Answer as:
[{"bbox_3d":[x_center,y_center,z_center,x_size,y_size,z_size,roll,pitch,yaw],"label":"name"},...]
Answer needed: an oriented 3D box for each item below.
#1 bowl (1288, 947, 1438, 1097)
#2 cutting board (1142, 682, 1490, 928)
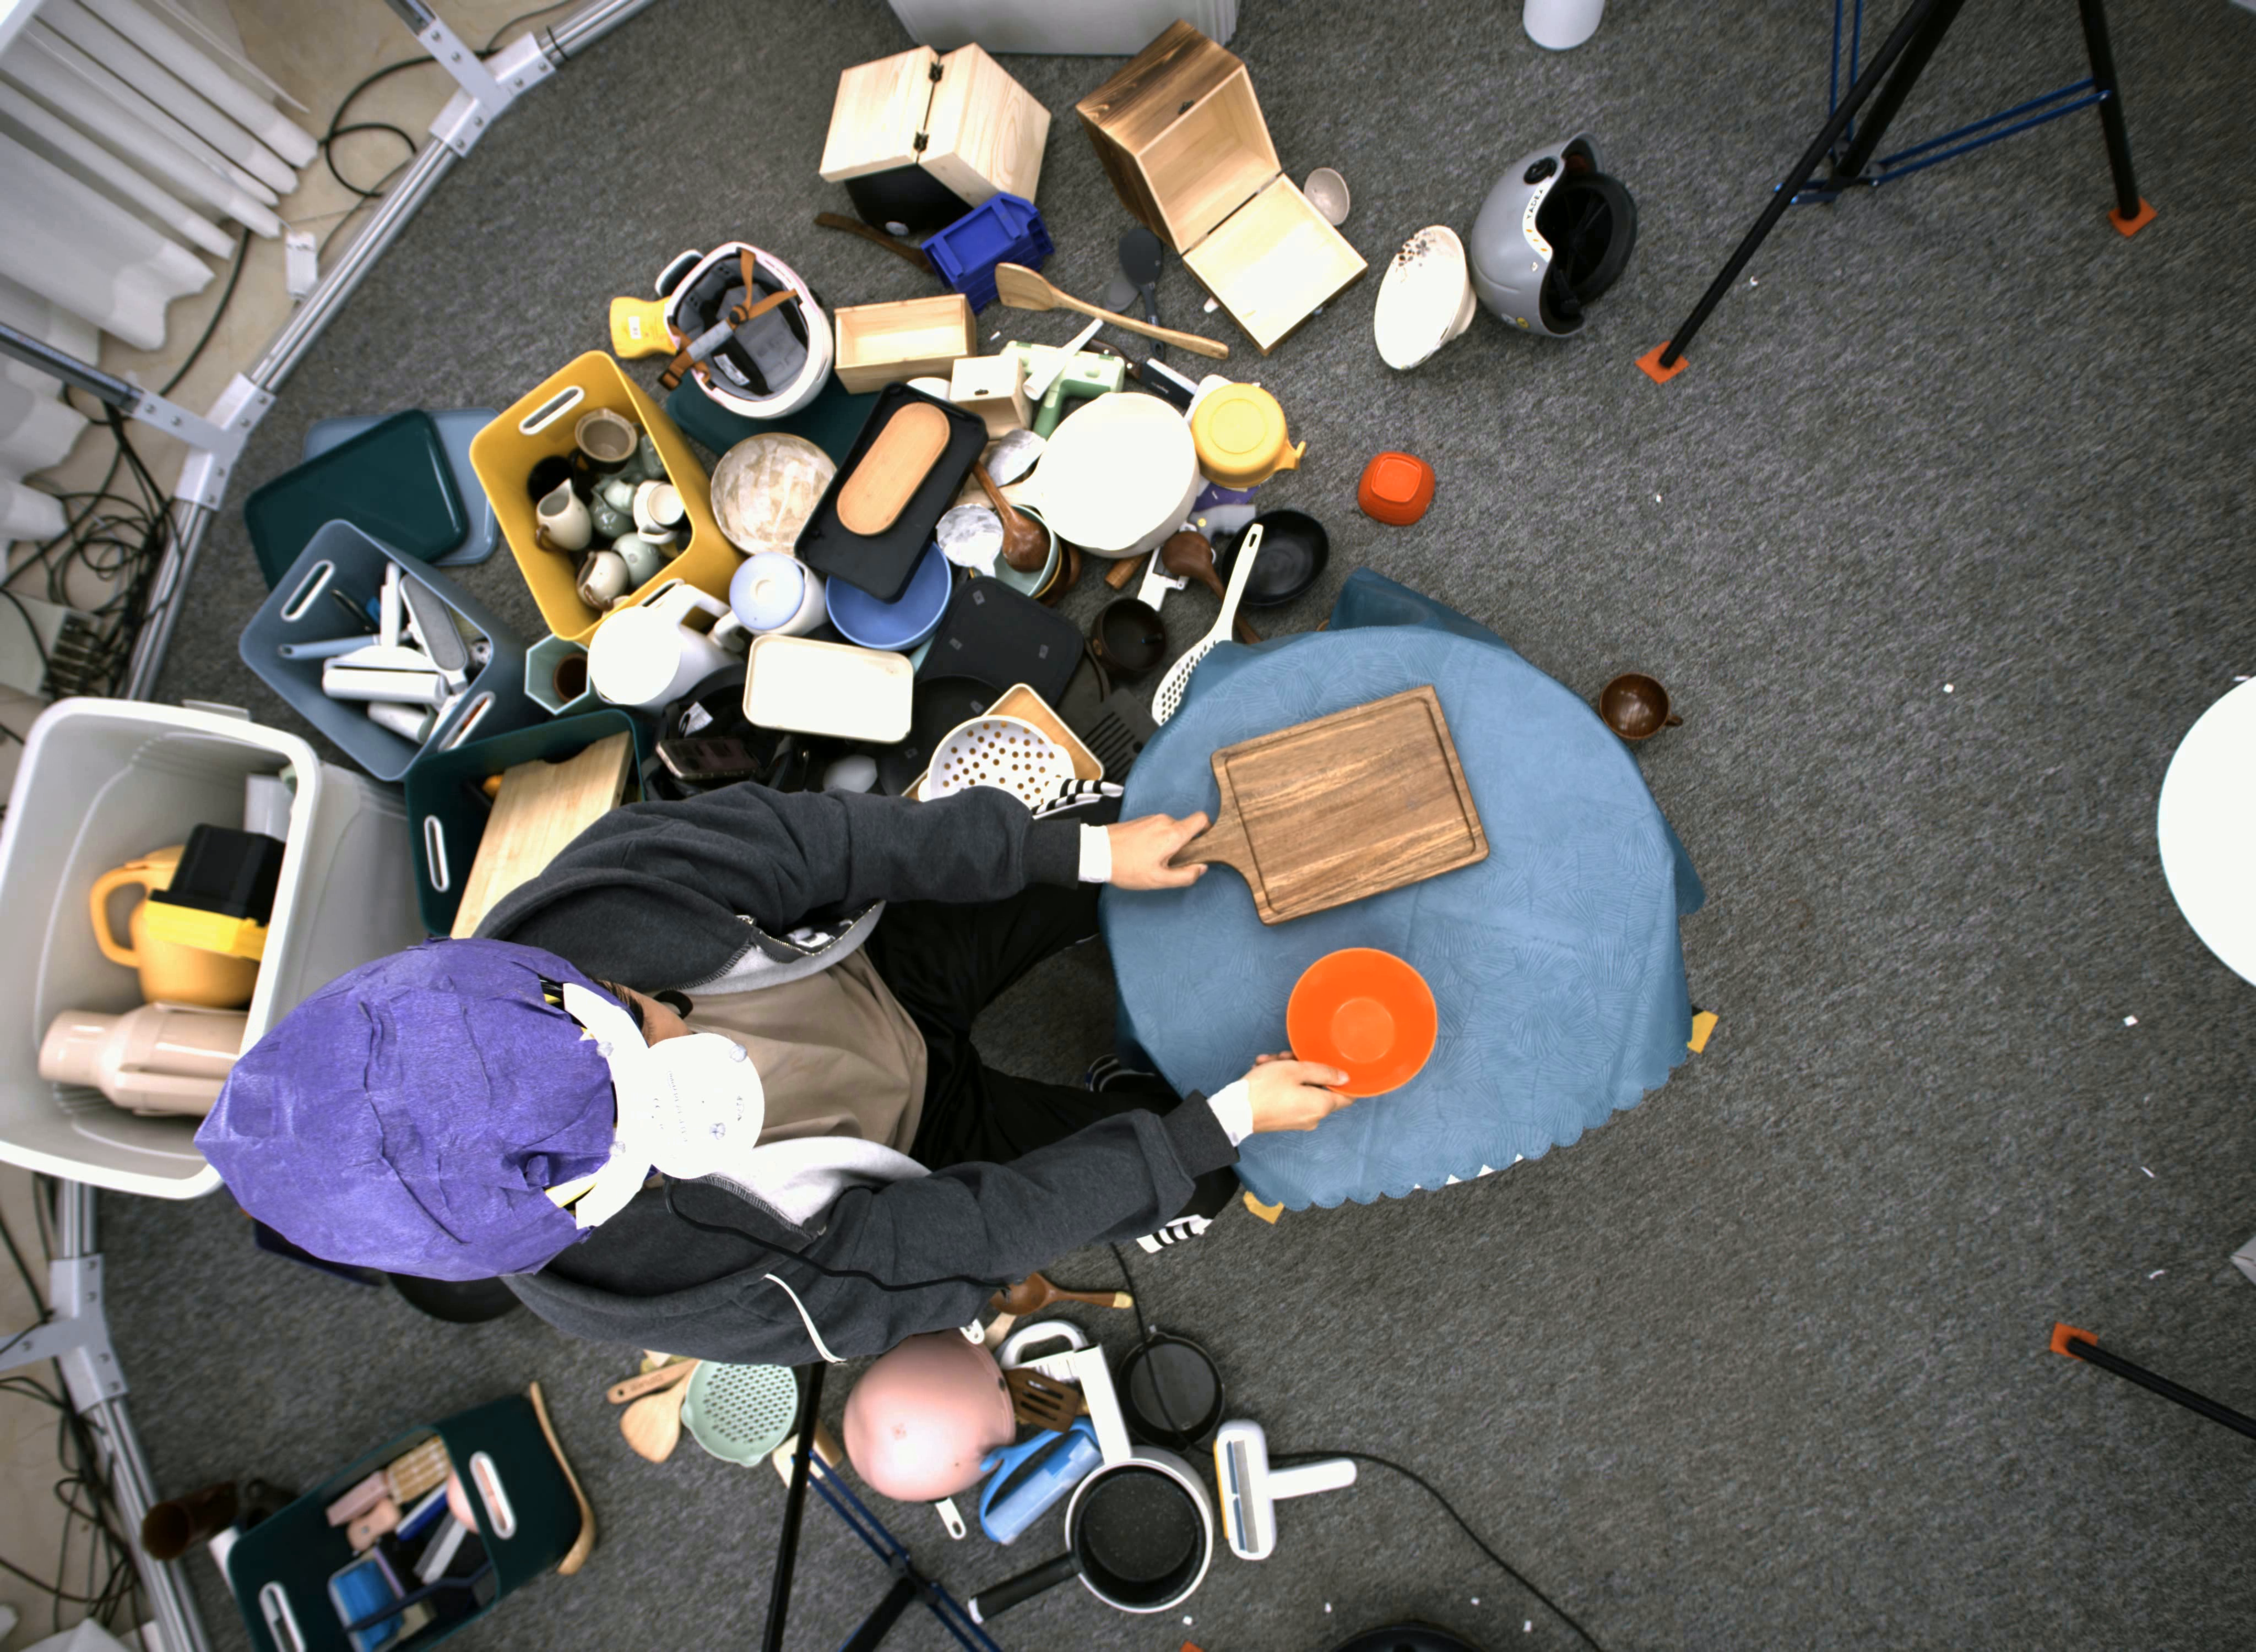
[{"bbox_3d":[0.238,0.197,1.407,0.148,0.105,0.147,-1,85,10],"label":"bowl"},{"bbox_3d":[0.183,-0.009,1.454,0.353,0.023,0.200,-18,84,4],"label":"cutting board"}]
